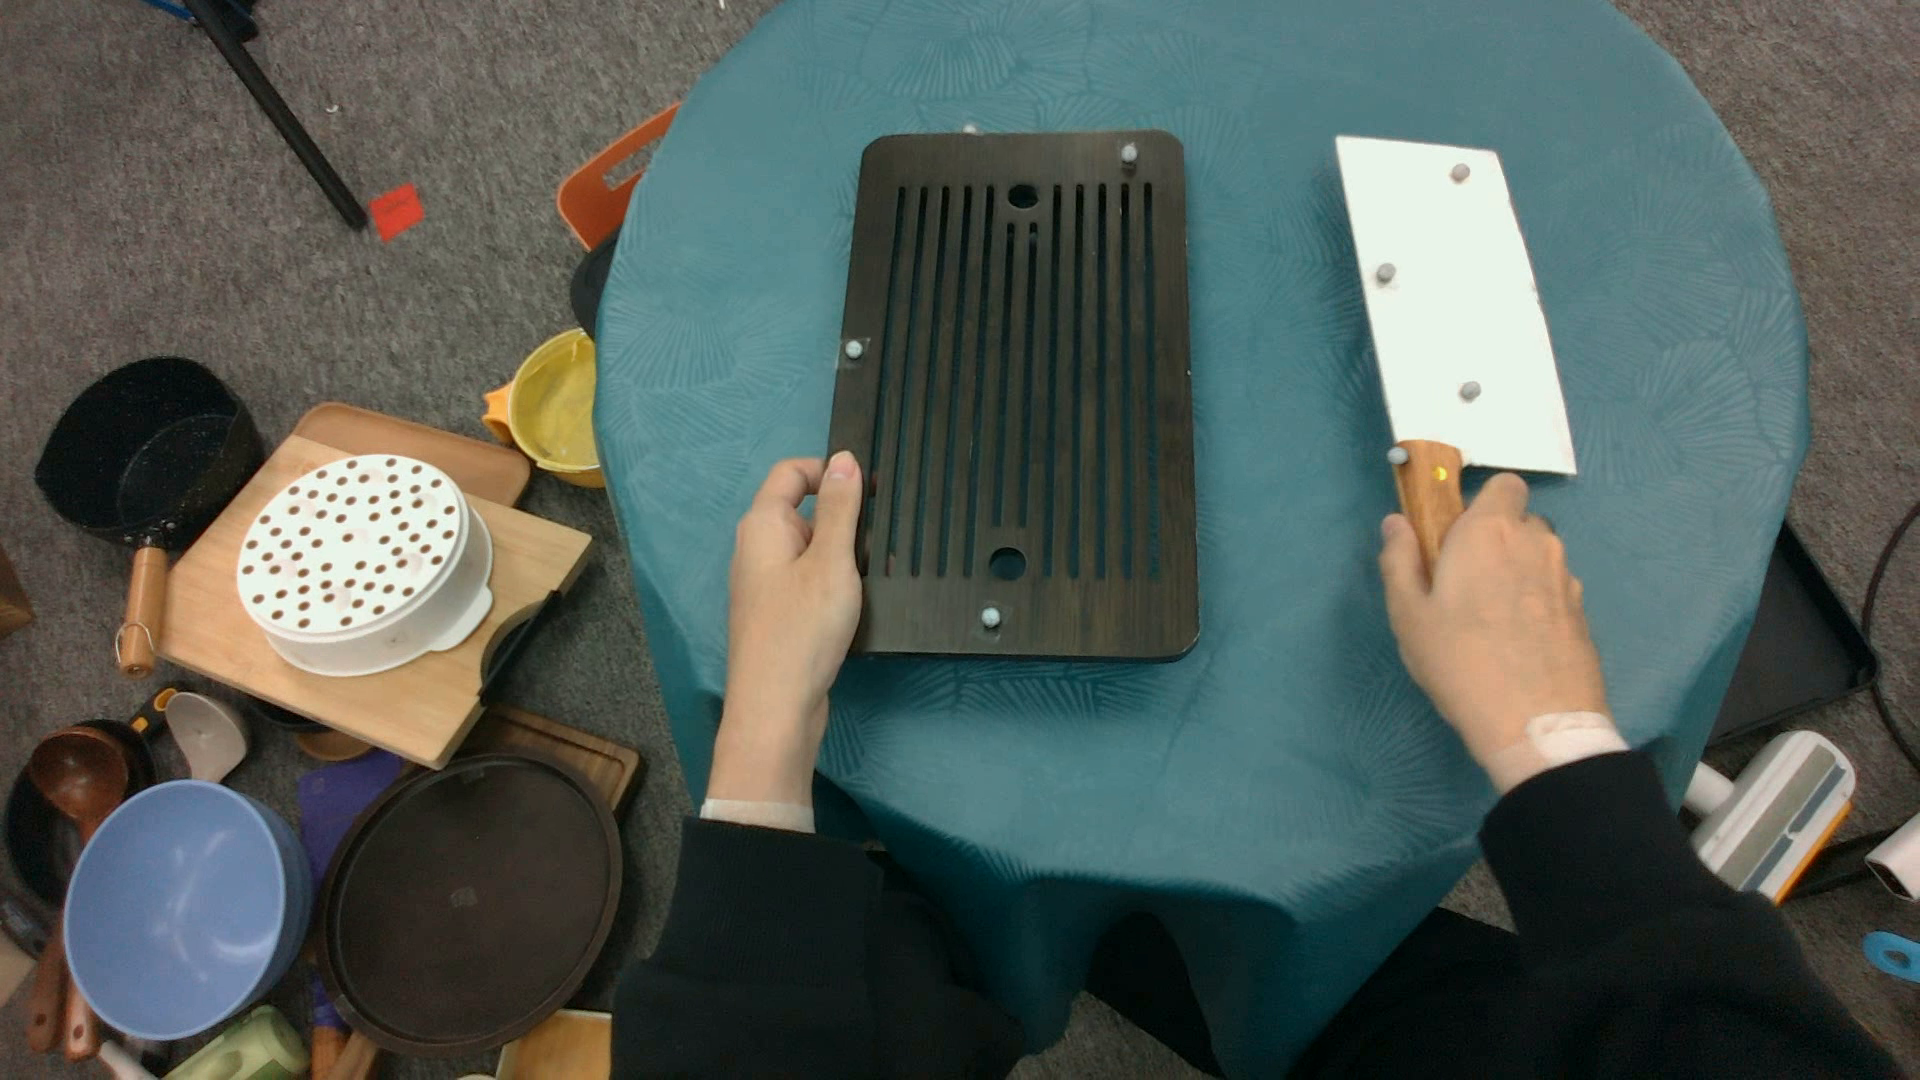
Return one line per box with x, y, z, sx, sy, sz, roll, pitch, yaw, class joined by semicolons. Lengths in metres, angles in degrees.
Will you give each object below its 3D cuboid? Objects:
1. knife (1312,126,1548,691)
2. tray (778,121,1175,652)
0.228;-0.074;0.644;0.093;0.021;0.307;4;64;-13;knife
0.013;-0.085;0.659;0.170;0.018;0.307;1;60;4;tray
